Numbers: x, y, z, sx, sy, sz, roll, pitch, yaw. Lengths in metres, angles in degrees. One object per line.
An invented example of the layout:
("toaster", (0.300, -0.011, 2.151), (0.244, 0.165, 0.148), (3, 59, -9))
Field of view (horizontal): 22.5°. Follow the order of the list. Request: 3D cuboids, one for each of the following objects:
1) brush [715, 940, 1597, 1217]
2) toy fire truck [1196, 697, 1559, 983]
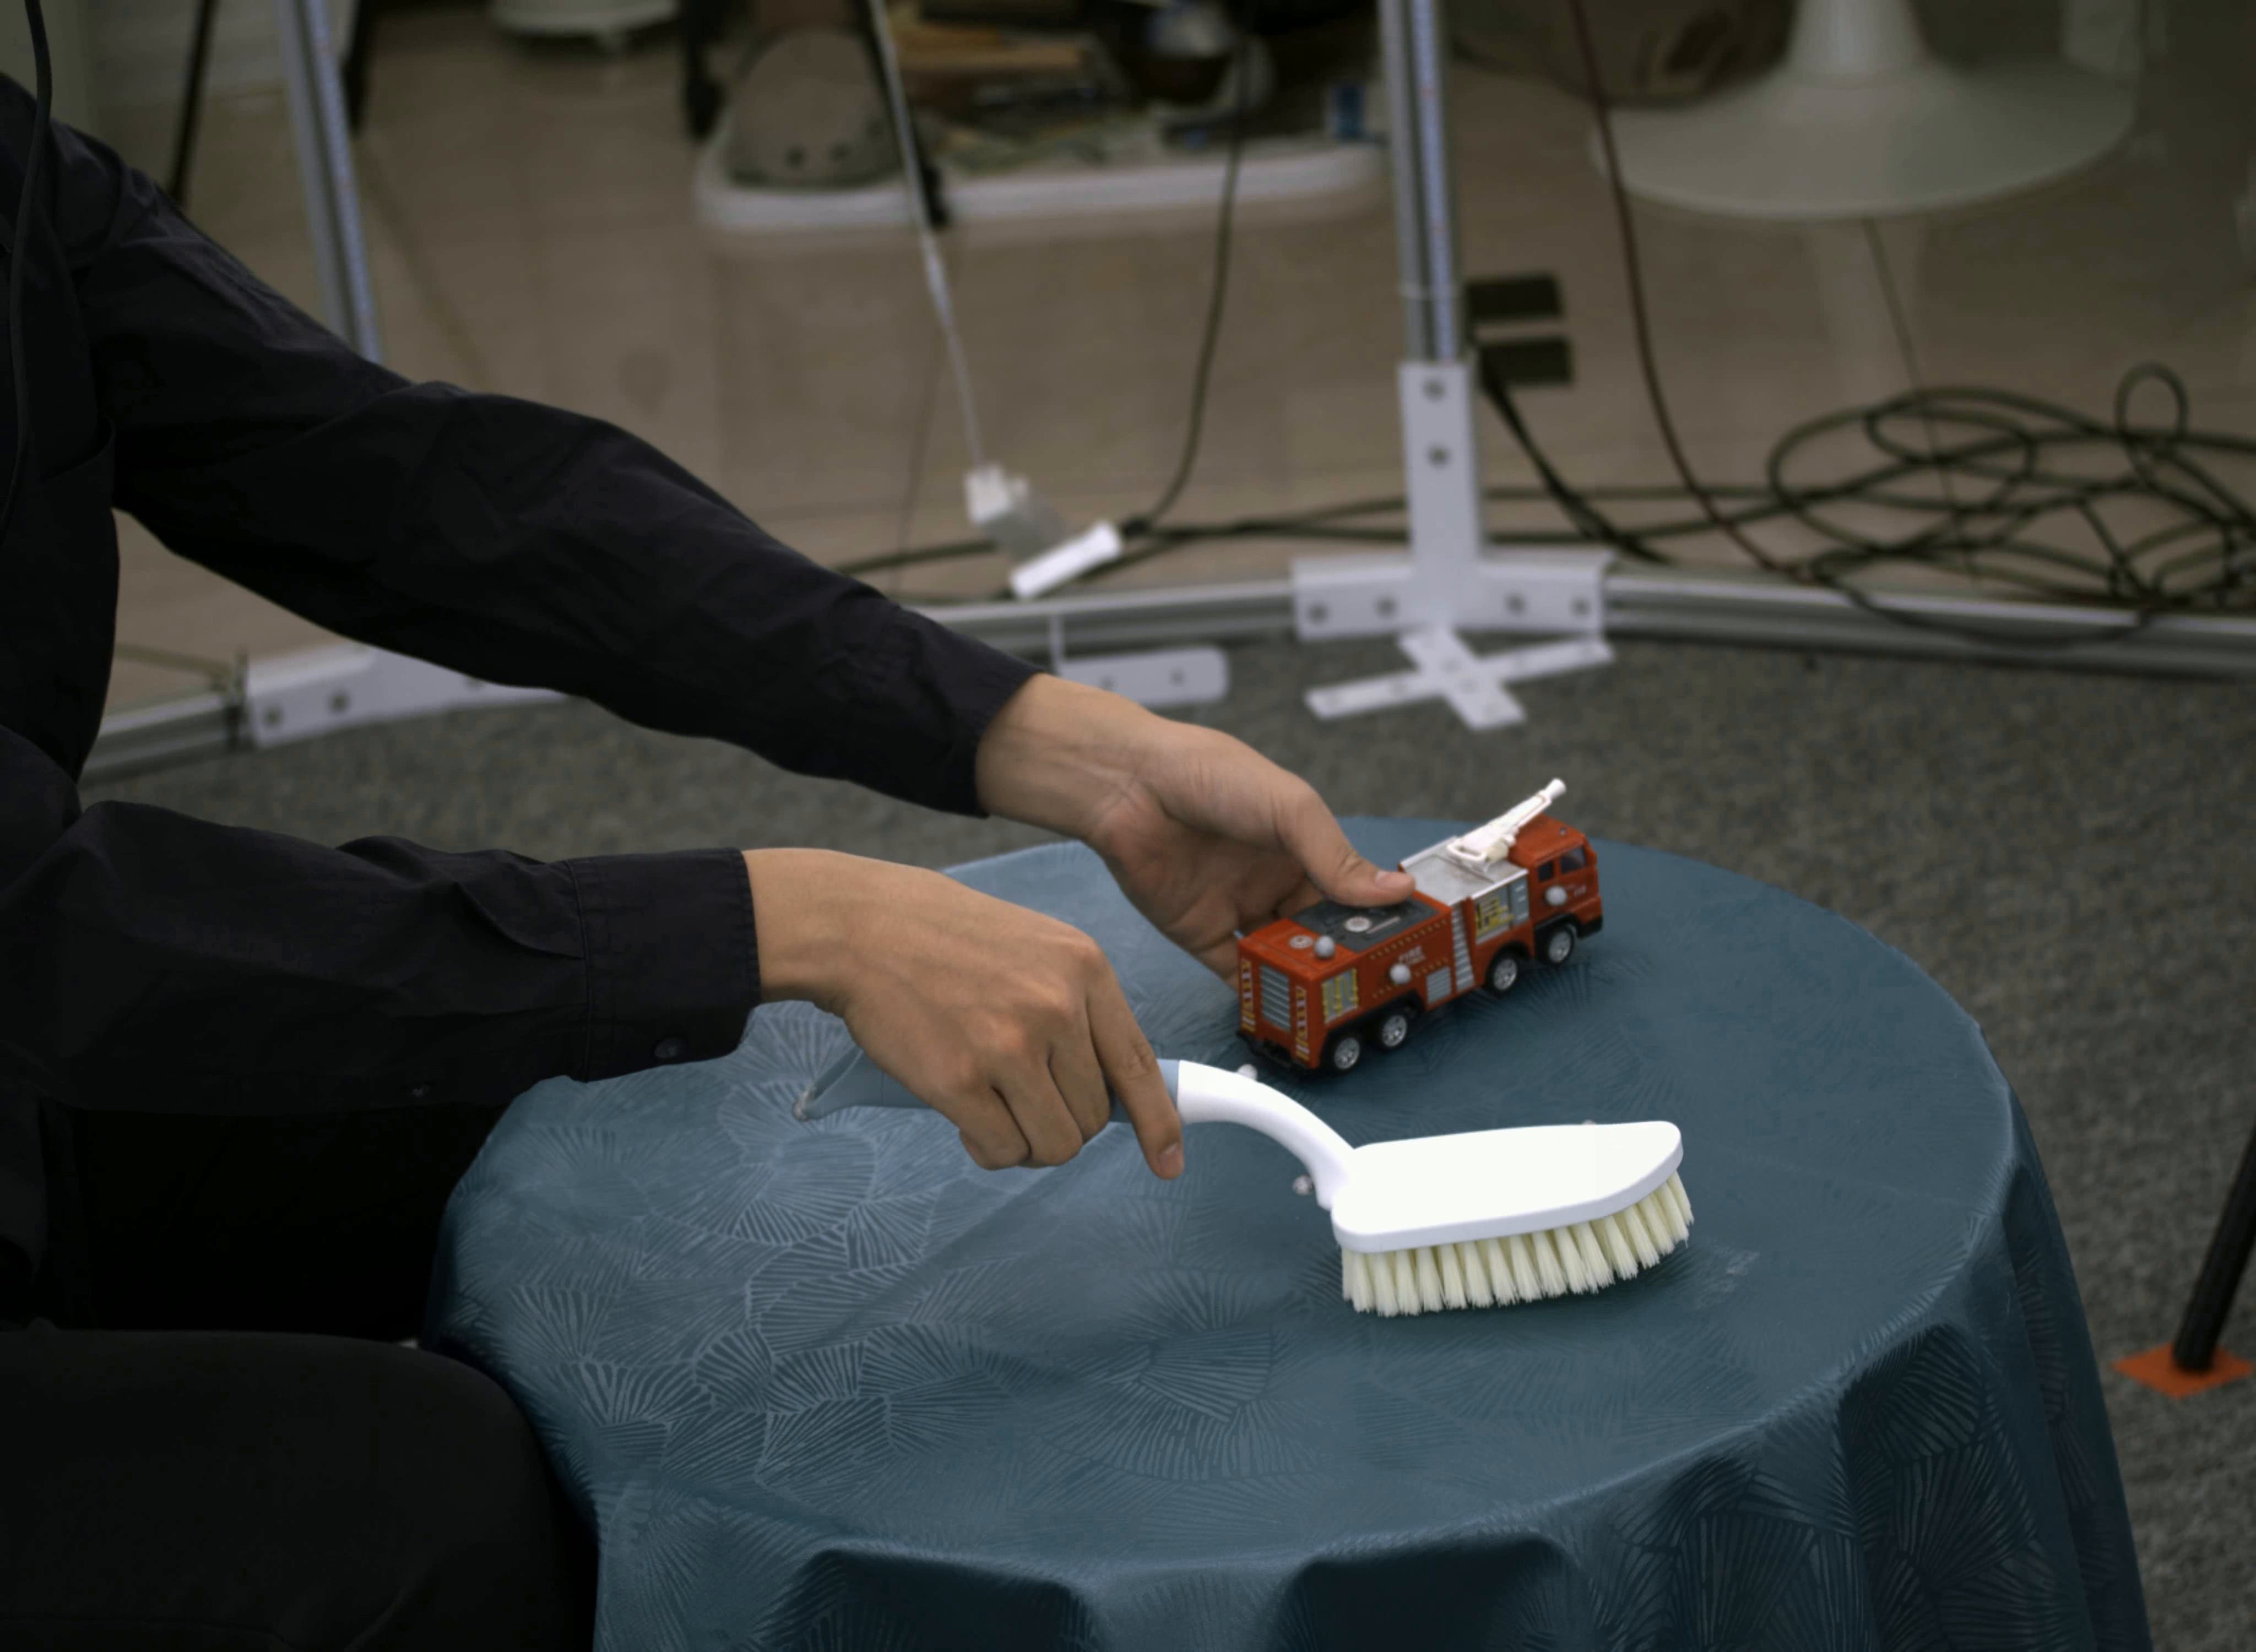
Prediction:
("brush", (0.010, 0.099, 2.084), (0.325, 0.084, 0.083), (4, -11, 1))
("toy fire truck", (0.102, 0.009, 2.270), (0.166, 0.071, 0.053), (-27, 35, -32))
